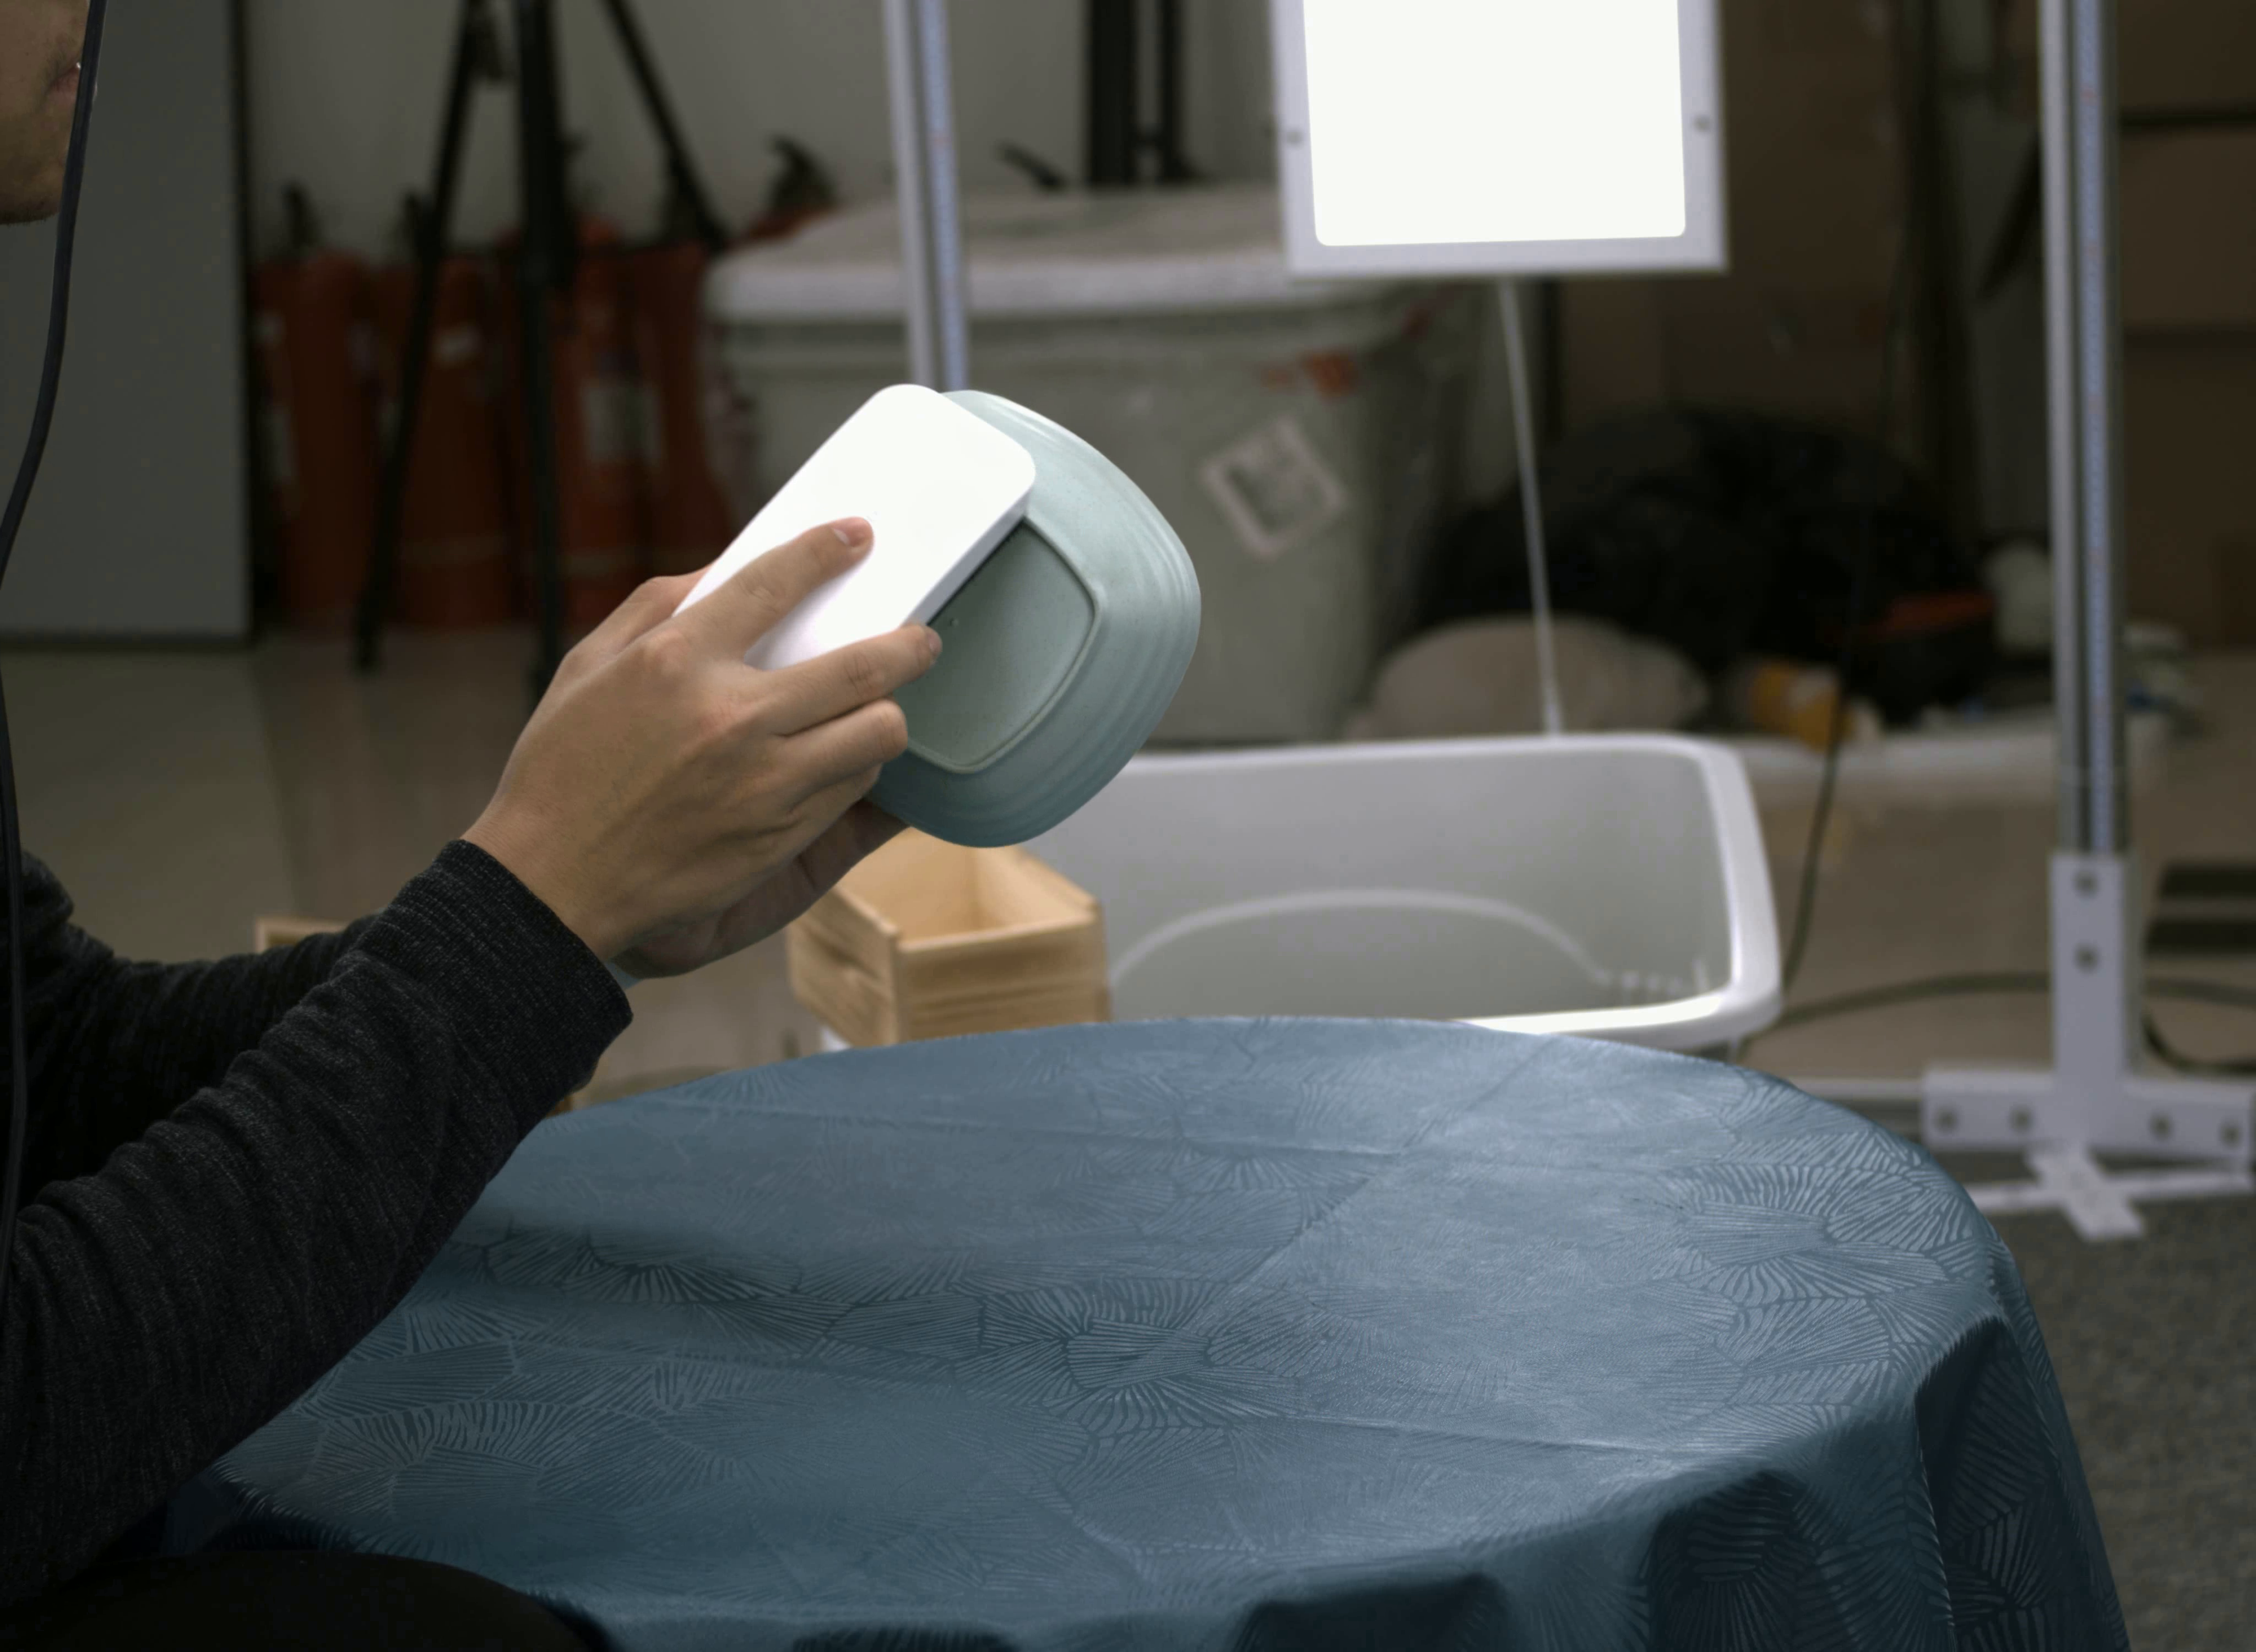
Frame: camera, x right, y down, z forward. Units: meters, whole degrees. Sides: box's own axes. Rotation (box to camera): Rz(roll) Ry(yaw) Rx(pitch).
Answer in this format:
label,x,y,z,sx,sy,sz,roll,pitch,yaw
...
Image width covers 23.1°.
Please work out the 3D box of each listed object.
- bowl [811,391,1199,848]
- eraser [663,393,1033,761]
label,x,y,z,sx,sy,sz,roll,pitch,yaw
bowl,-0.054,-0.066,1.792,0.152,0.152,0.058,-2,5,10
eraser,-0.088,-0.080,1.727,0.064,0.034,0.129,34,65,19
